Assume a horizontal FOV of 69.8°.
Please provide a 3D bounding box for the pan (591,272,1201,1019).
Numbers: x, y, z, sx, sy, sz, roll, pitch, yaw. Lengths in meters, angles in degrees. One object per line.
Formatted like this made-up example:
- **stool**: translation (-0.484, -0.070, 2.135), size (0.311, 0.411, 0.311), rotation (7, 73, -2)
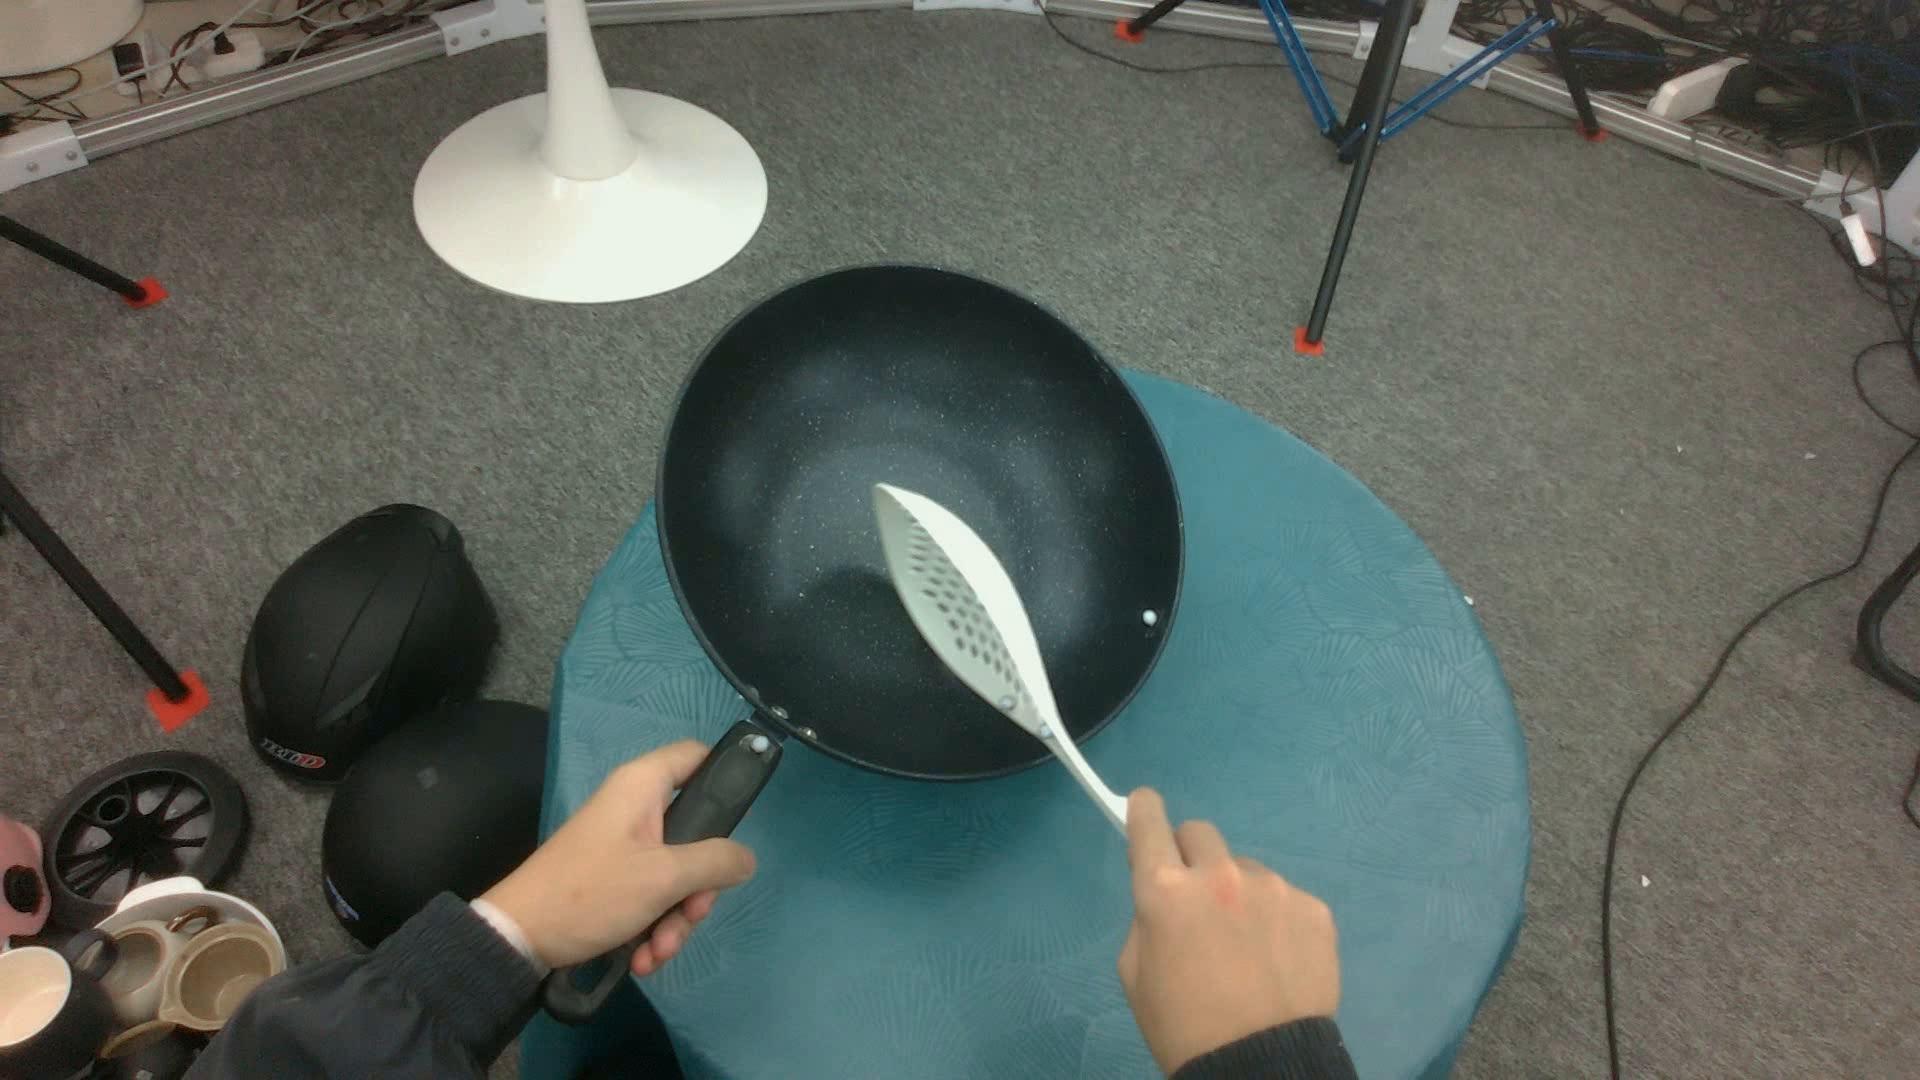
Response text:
- **pan**: translation (-0.054, 0.054, 0.775), size (0.310, 0.111, 0.479), rotation (34, 63, -1)

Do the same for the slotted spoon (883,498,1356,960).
- **slotted spoon**: translation (0.067, 0.095, 0.718), size (0.050, 0.136, 0.348), rotation (-29, 52, -15)
